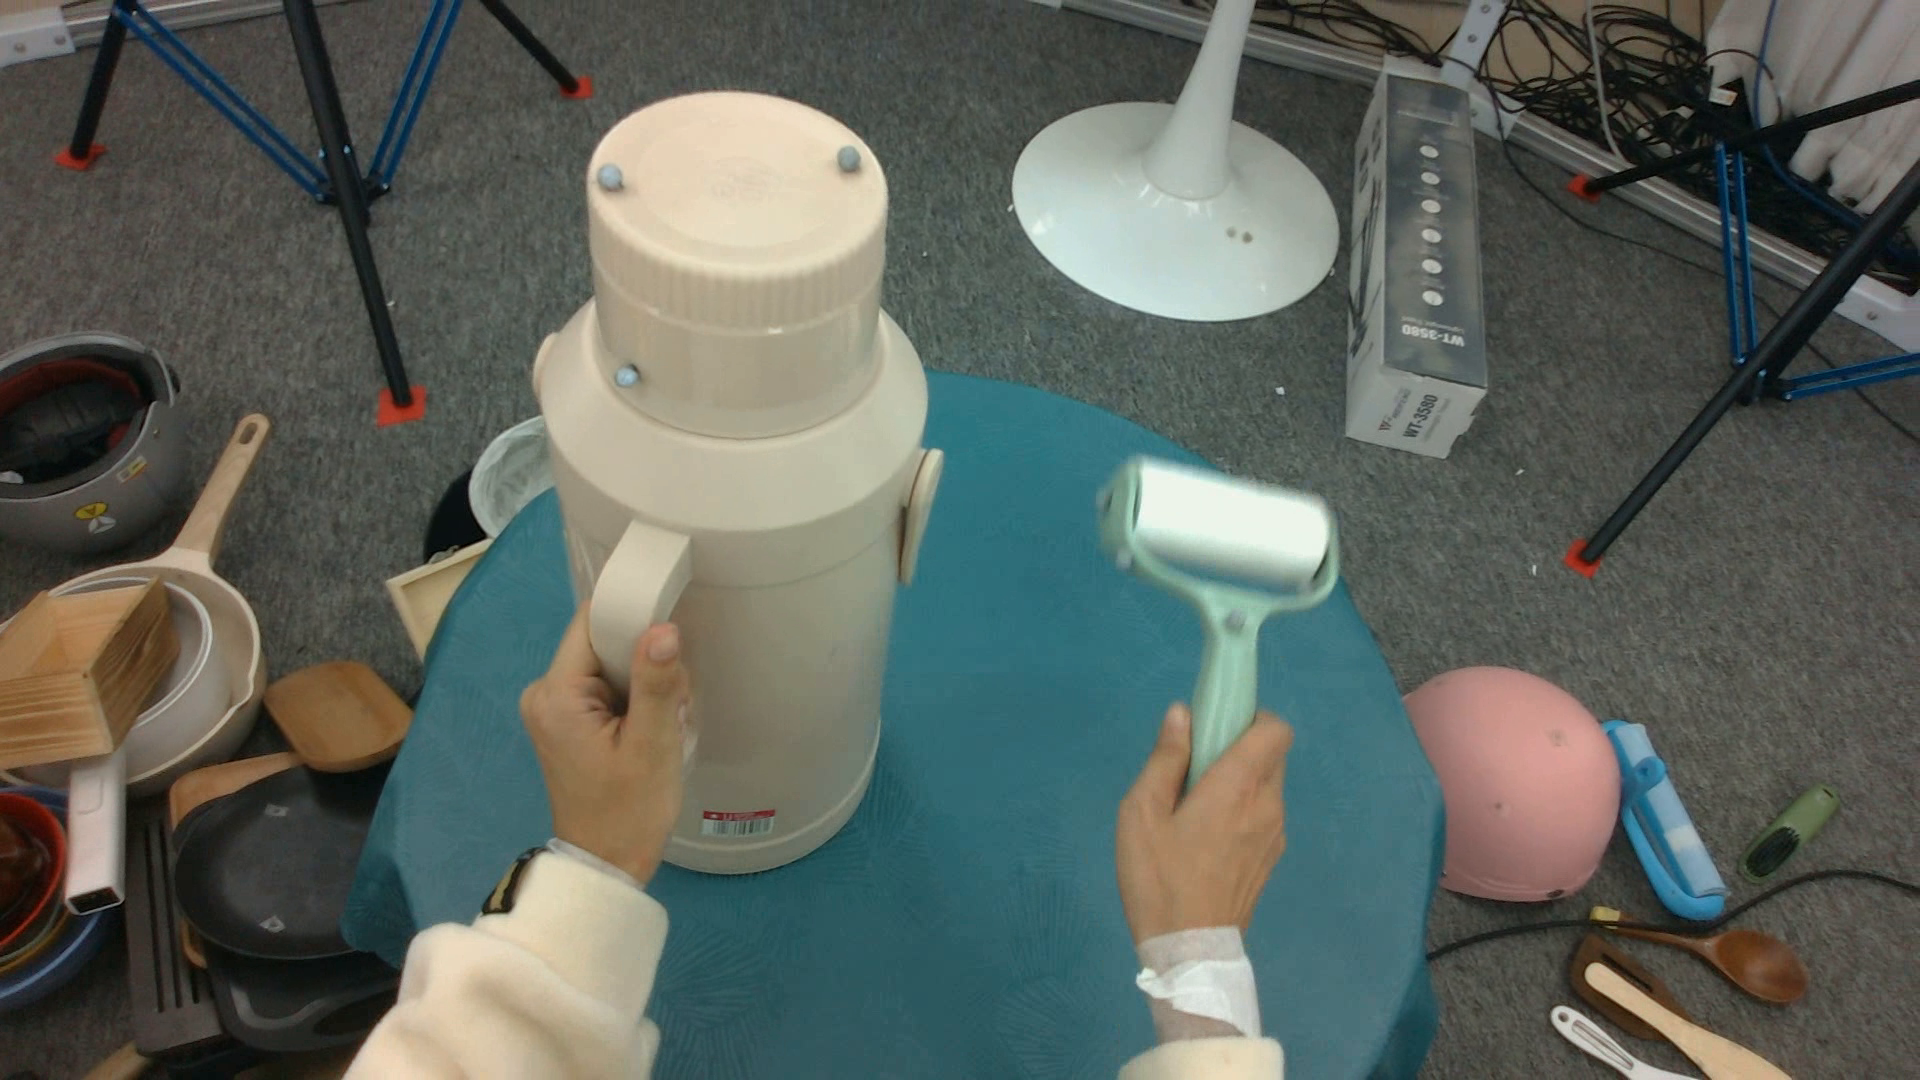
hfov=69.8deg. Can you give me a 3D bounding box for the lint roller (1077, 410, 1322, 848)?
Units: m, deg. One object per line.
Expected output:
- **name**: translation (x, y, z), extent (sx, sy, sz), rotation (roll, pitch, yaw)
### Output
- **lint roller**: translation (0.107, 0.039, 0.630), extent (0.117, 0.048, 0.198), rotation (14, 66, -18)

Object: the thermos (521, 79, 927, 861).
- **thermos**: translation (-0.115, 0.001, 0.633), extent (0.175, 0.404, 0.208), rotation (17, 51, 4)
